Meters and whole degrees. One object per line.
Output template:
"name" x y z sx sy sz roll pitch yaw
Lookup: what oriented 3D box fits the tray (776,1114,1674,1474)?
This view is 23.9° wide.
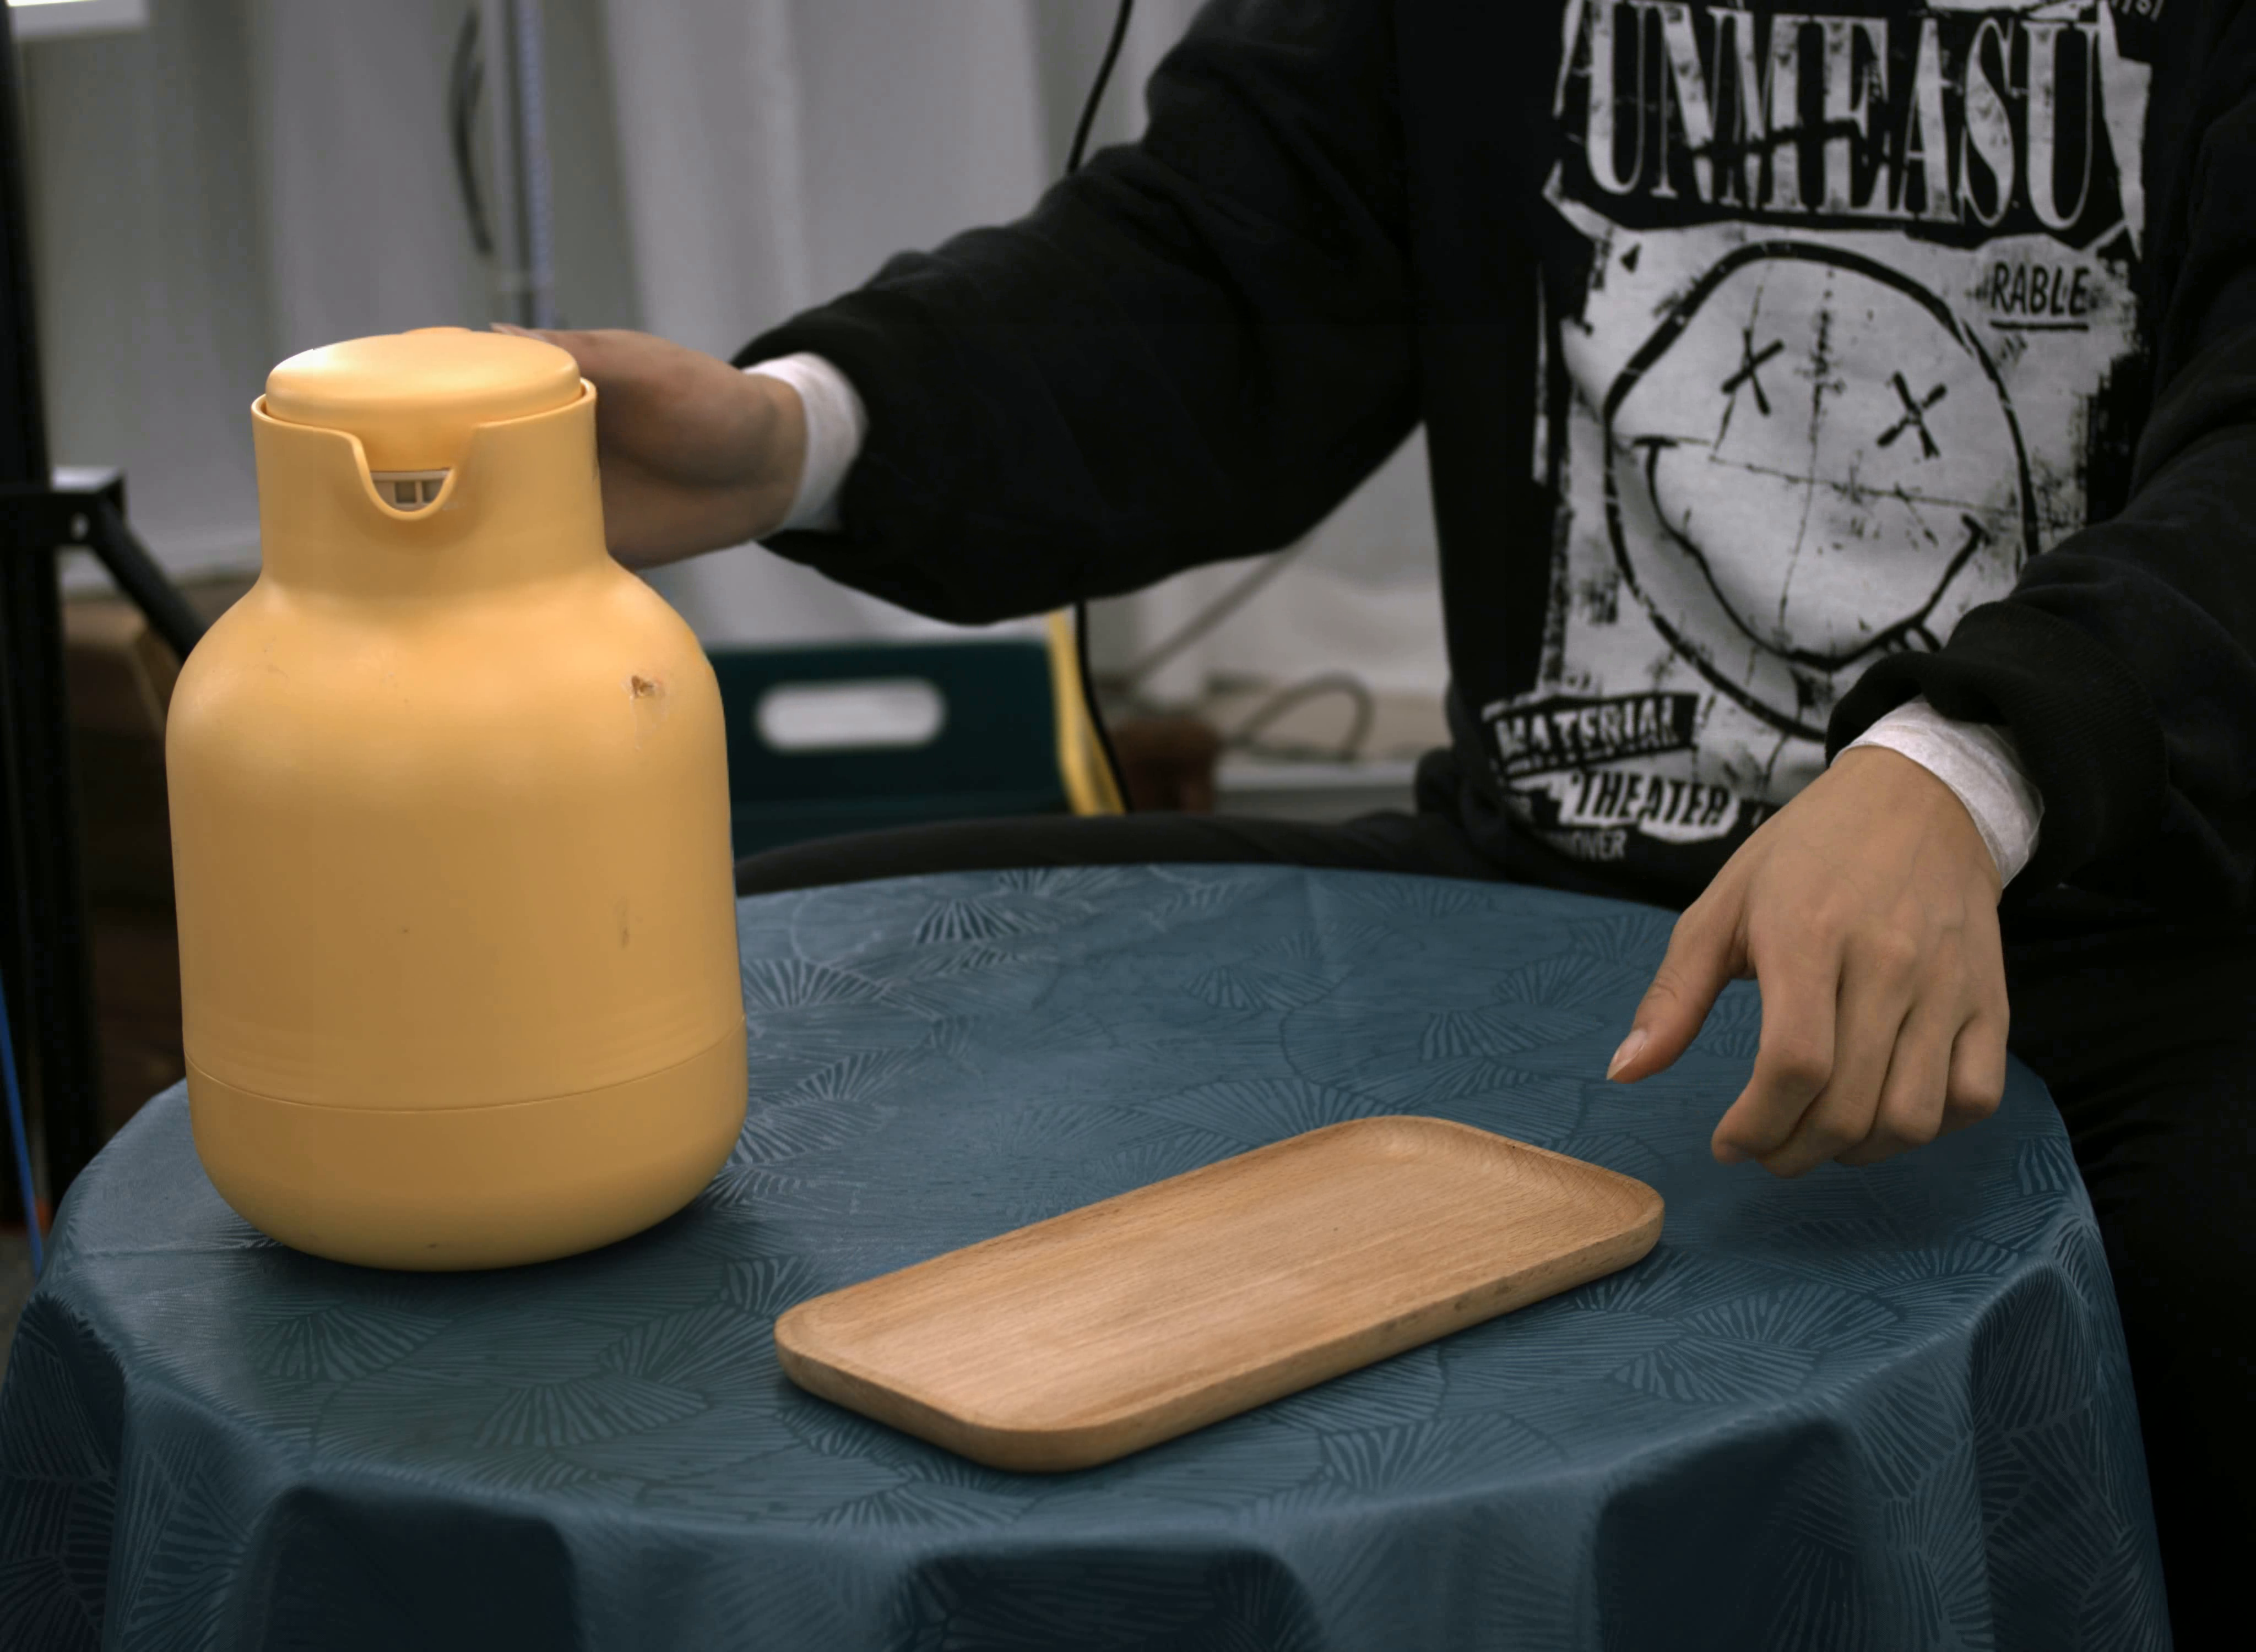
"tray" 0.030 0.126 1.455 0.245 0.023 0.133 -14 22 -37

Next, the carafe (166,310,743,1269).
"carafe" -0.194 -0.019 1.556 0.163 0.260 0.203 0 17 0
